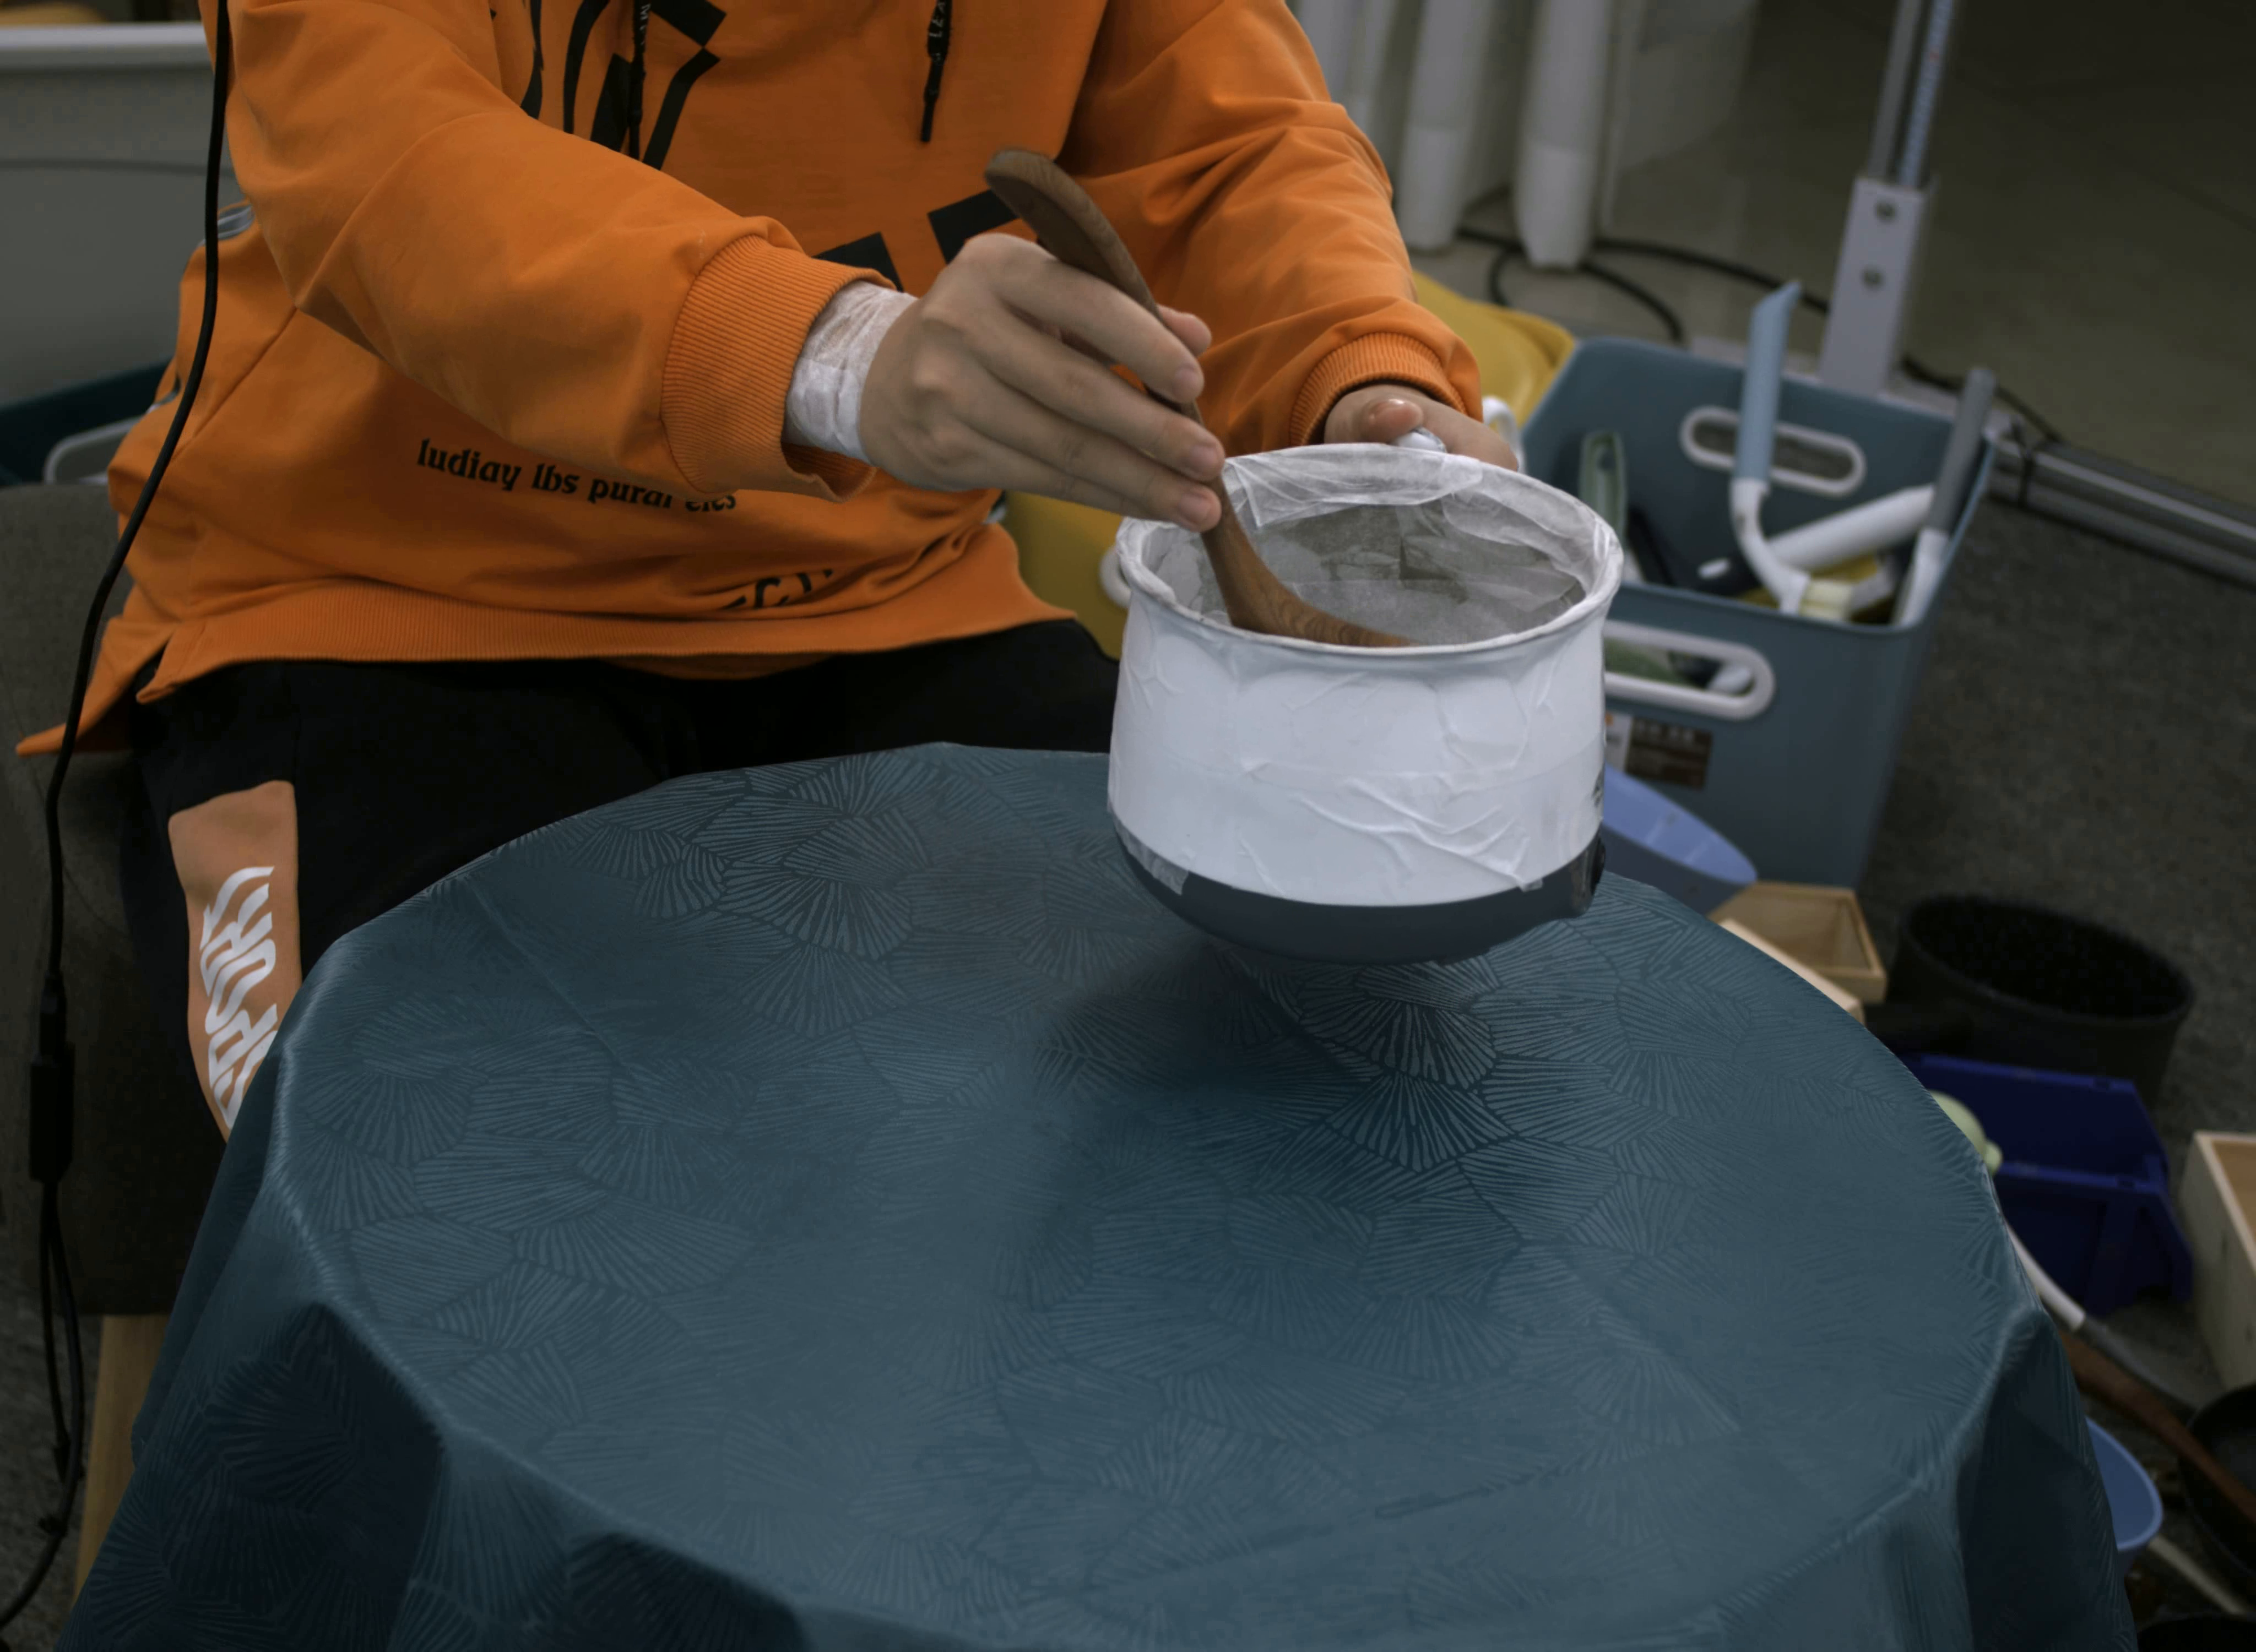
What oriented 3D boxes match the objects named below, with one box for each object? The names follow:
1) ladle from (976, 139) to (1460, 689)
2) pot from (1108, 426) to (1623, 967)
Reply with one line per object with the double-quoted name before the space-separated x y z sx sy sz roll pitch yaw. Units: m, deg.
"ladle" 0.033 -0.134 1.792 0.077 0.259 0.065 -8 30 47
"pot" 0.087 -0.053 1.901 0.178 0.136 0.234 6 27 9
